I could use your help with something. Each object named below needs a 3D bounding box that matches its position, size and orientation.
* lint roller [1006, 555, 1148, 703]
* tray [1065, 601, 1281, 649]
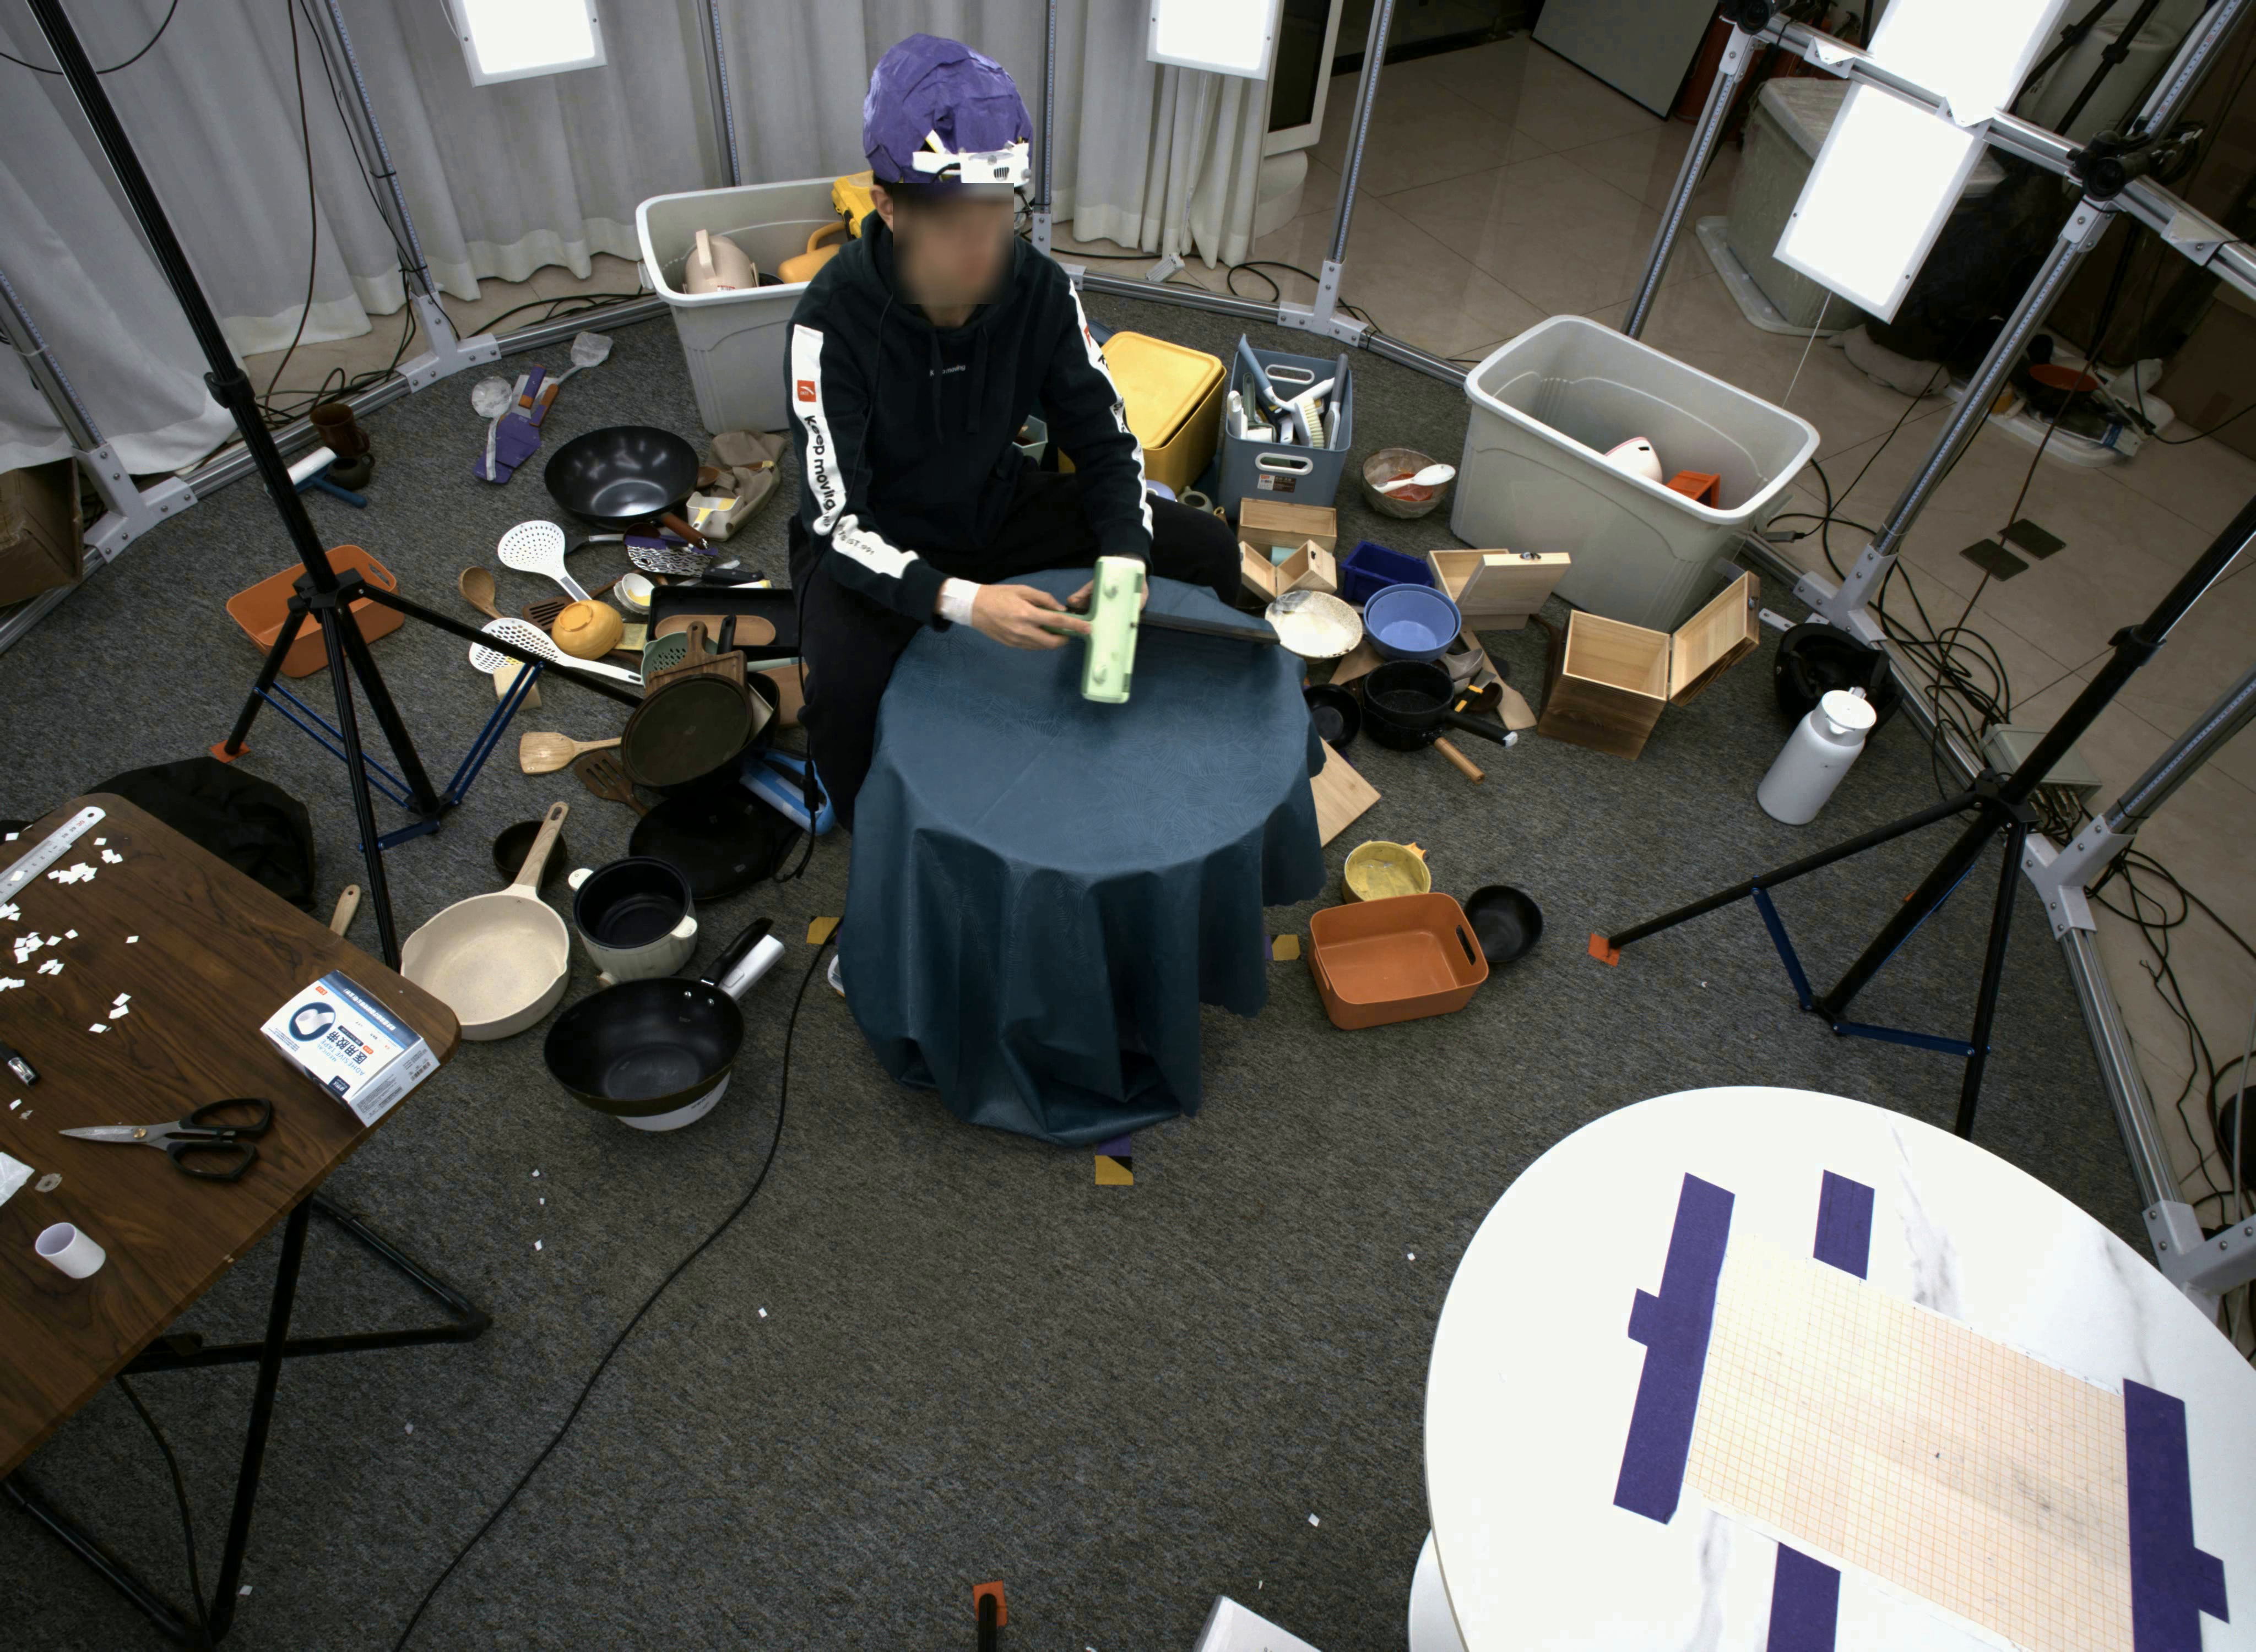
[{"bbox_3d":[-0.075,-0.274,1.744,0.183,0.197,0.083,7,8,-4],"label":"lint roller"},{"bbox_3d":[0.068,-0.292,1.859,0.306,0.018,0.171,9,13,4],"label":"tray"}]
